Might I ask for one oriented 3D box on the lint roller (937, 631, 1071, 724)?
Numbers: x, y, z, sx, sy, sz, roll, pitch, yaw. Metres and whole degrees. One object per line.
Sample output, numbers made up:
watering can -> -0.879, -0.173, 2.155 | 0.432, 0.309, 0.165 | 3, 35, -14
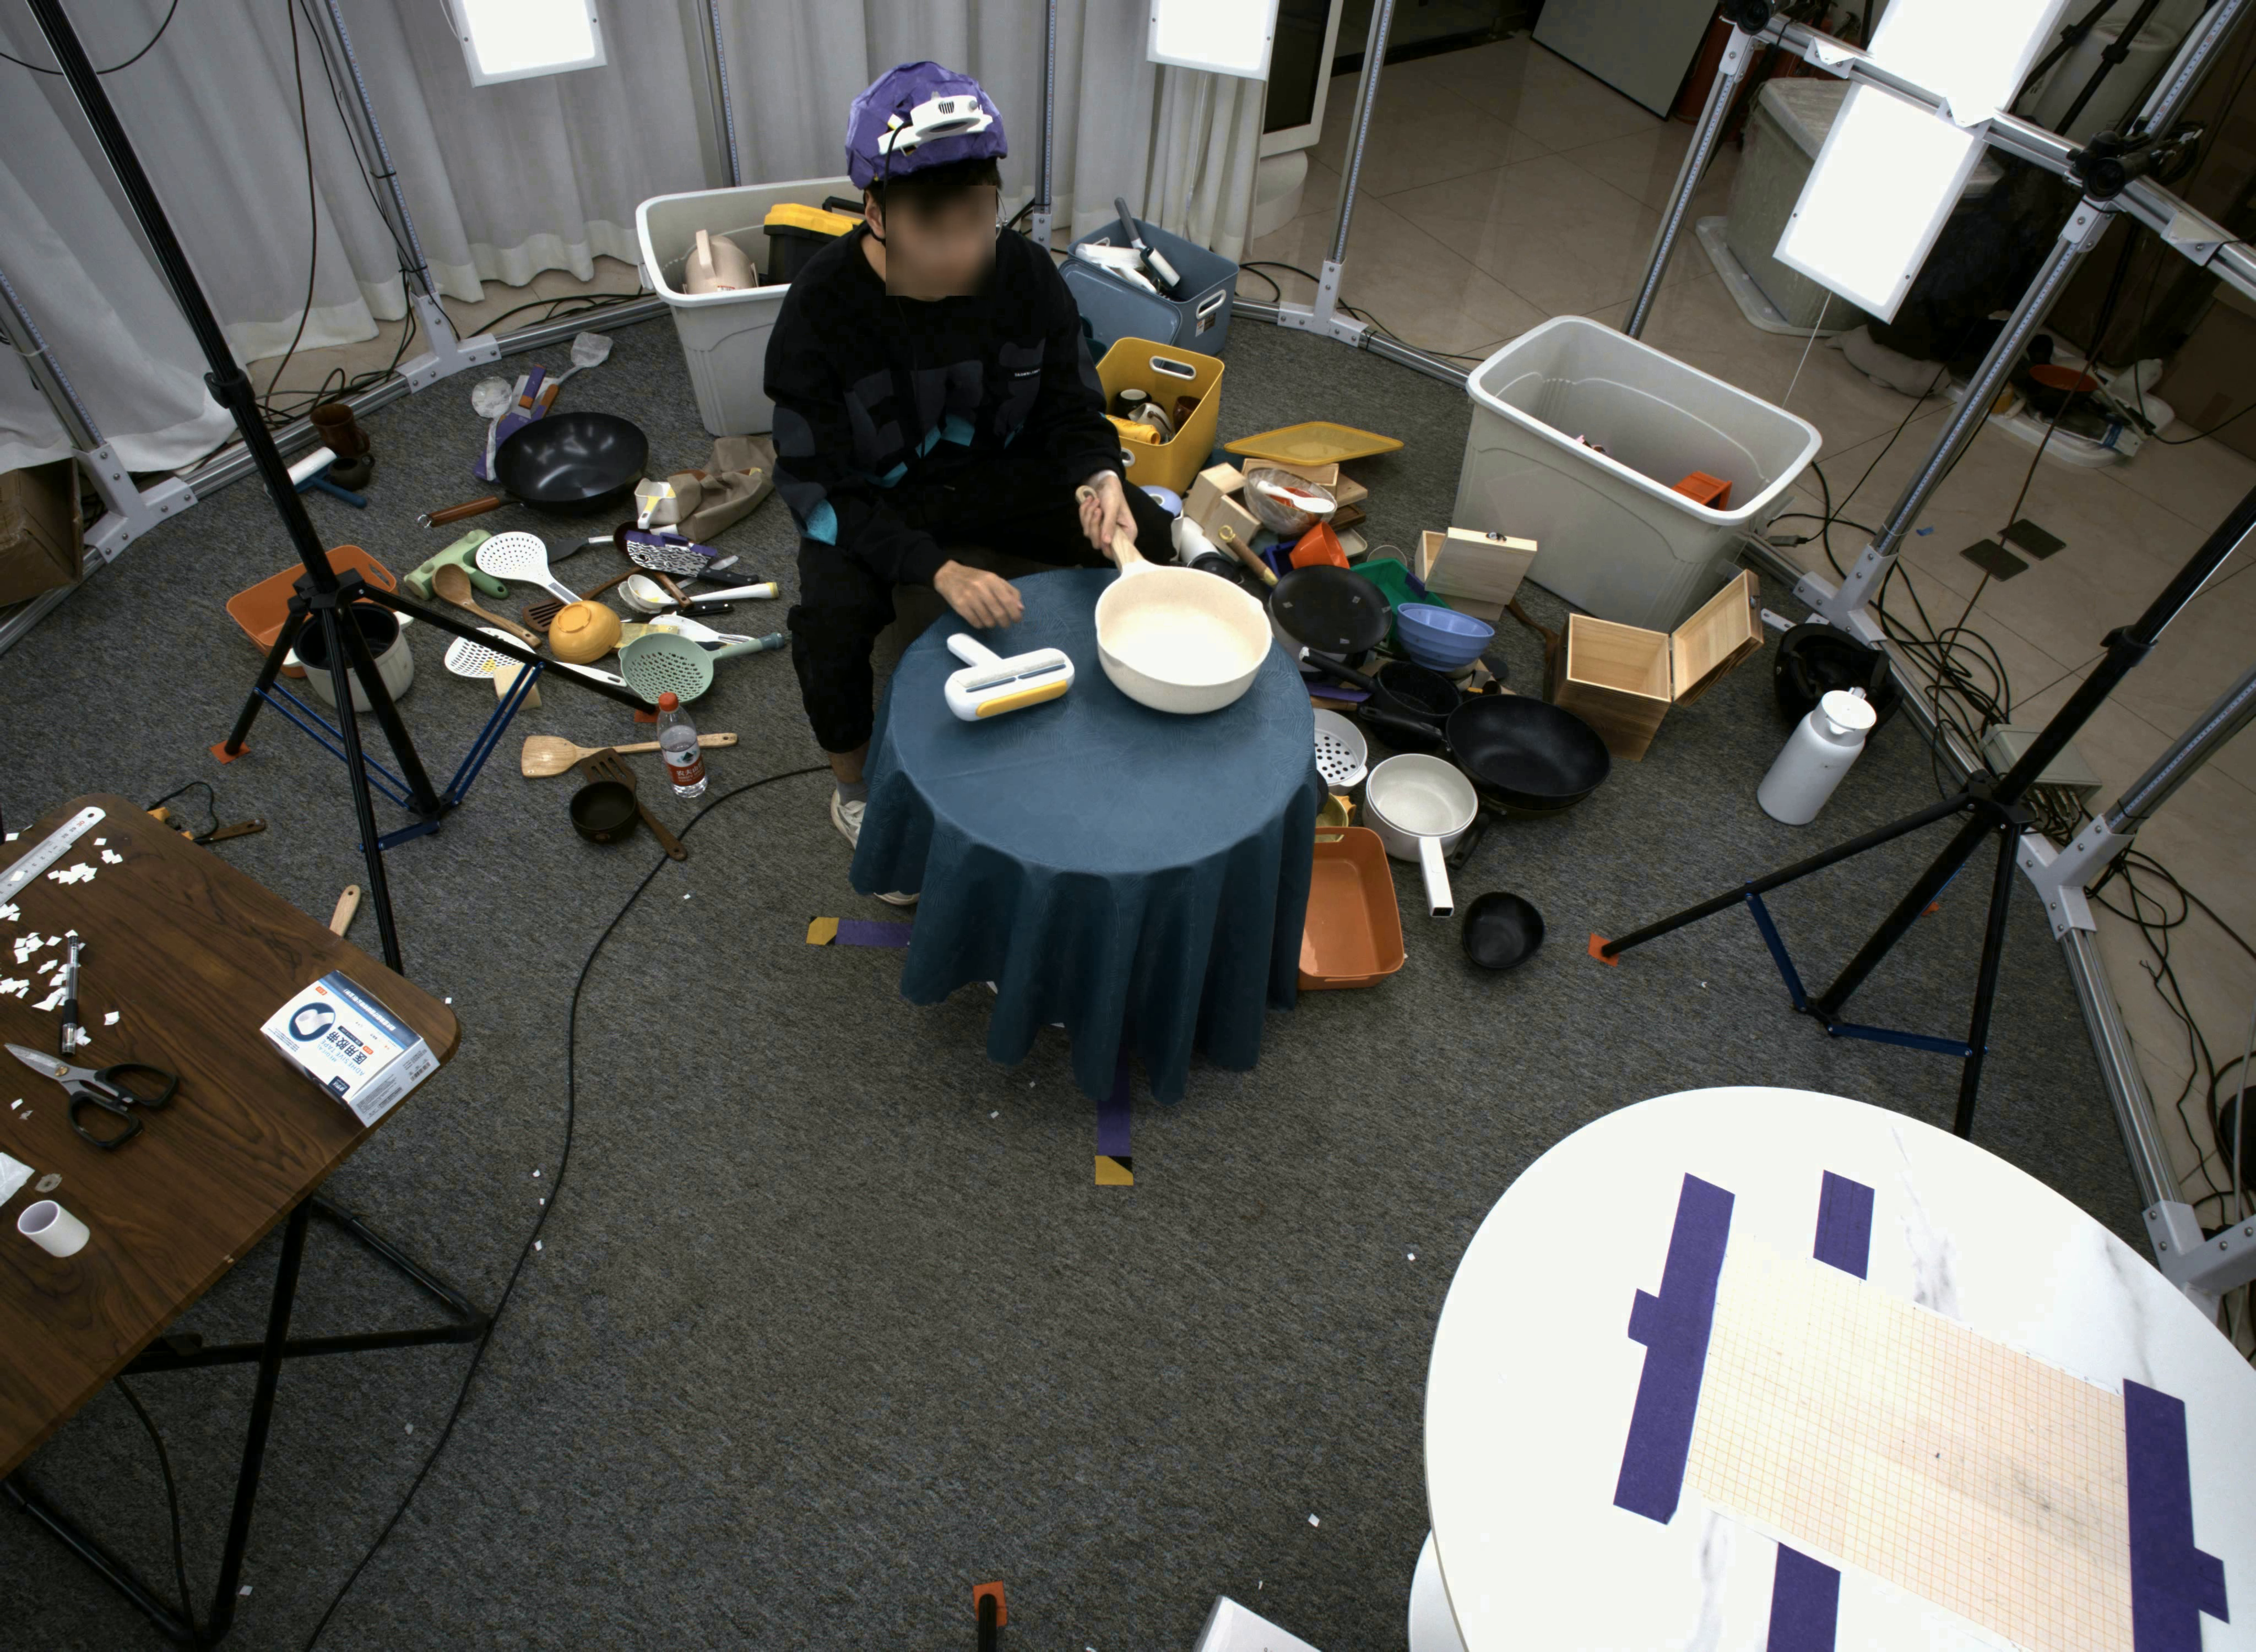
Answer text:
lint roller -> -0.198, -0.227, 1.809 | 0.193, 0.072, 0.196 | -19, 51, -25

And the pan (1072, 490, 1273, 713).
pan -> 0.032, -0.330, 1.886 | 0.264, 0.099, 0.444 | -21, 54, -21
